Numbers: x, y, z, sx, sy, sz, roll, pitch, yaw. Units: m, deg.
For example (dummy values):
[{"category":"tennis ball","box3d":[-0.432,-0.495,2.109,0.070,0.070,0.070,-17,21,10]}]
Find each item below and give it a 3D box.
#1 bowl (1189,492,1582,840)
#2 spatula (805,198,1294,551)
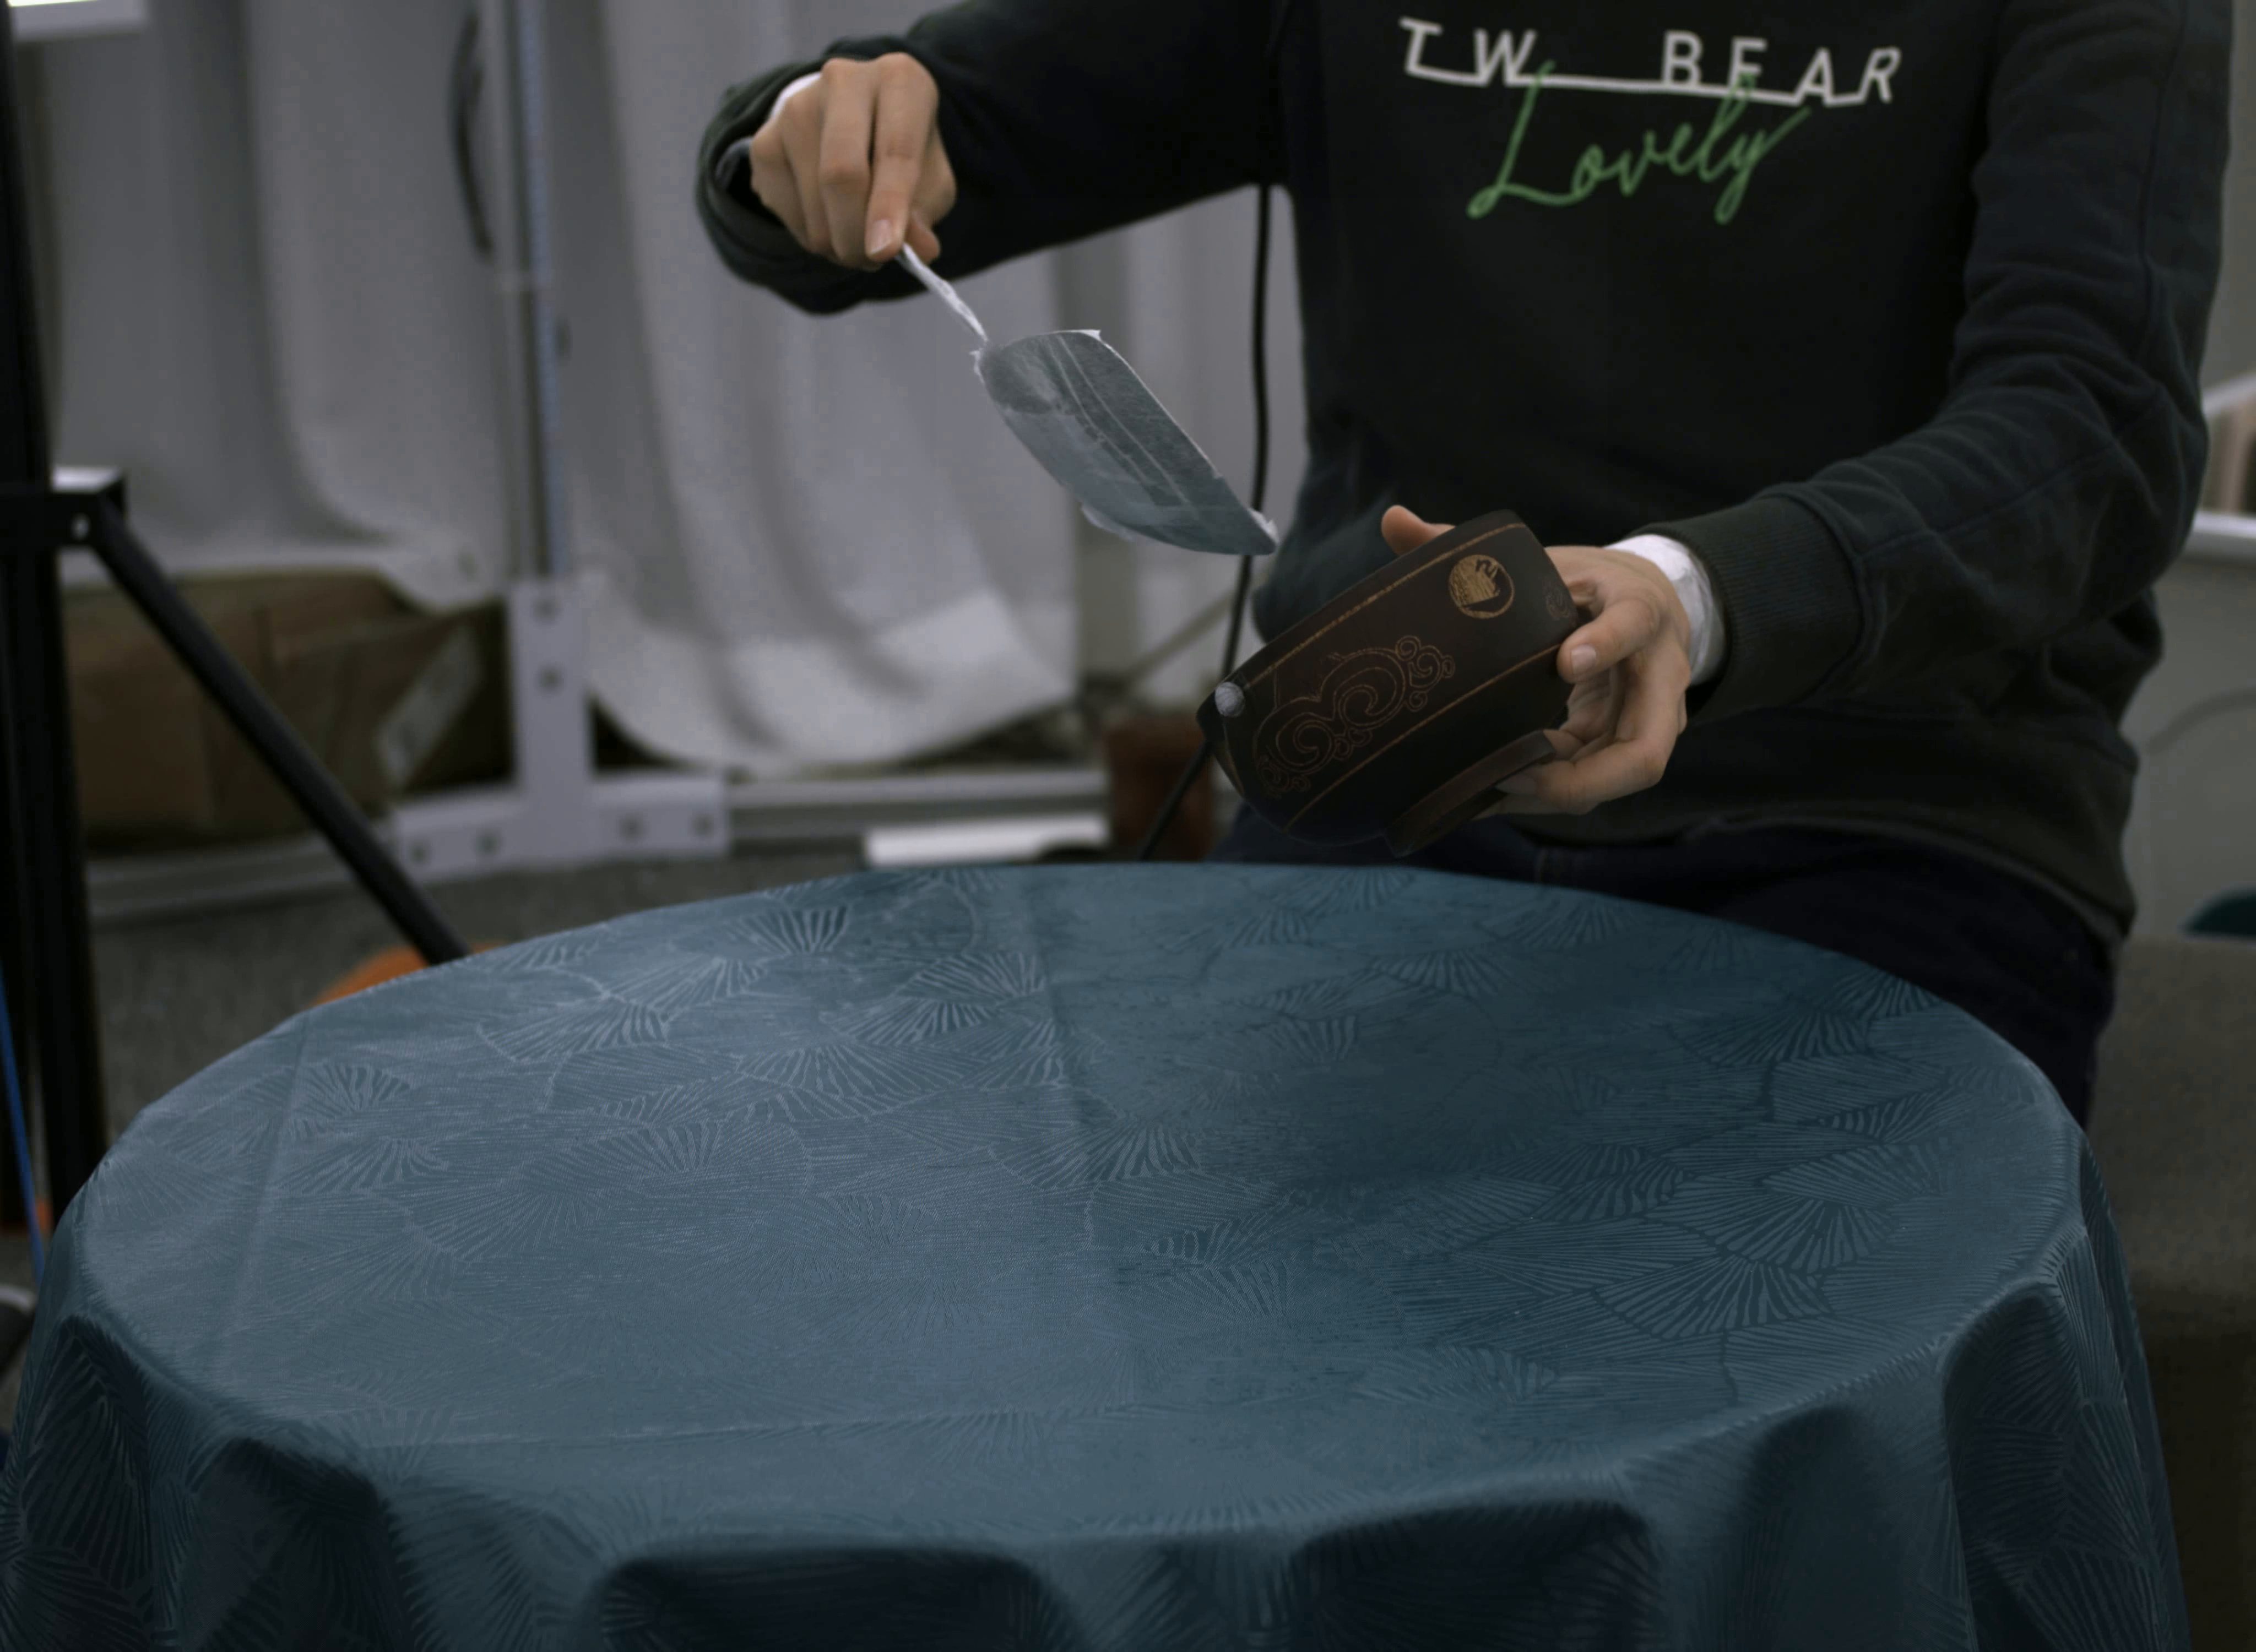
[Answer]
[{"category":"bowl","box3d":[0.084,-0.039,1.581,0.117,0.070,0.118,-29,-8,-6]},{"category":"spatula","box3d":[-0.044,-0.162,1.721,0.045,0.097,0.371,-43,28,1]}]
